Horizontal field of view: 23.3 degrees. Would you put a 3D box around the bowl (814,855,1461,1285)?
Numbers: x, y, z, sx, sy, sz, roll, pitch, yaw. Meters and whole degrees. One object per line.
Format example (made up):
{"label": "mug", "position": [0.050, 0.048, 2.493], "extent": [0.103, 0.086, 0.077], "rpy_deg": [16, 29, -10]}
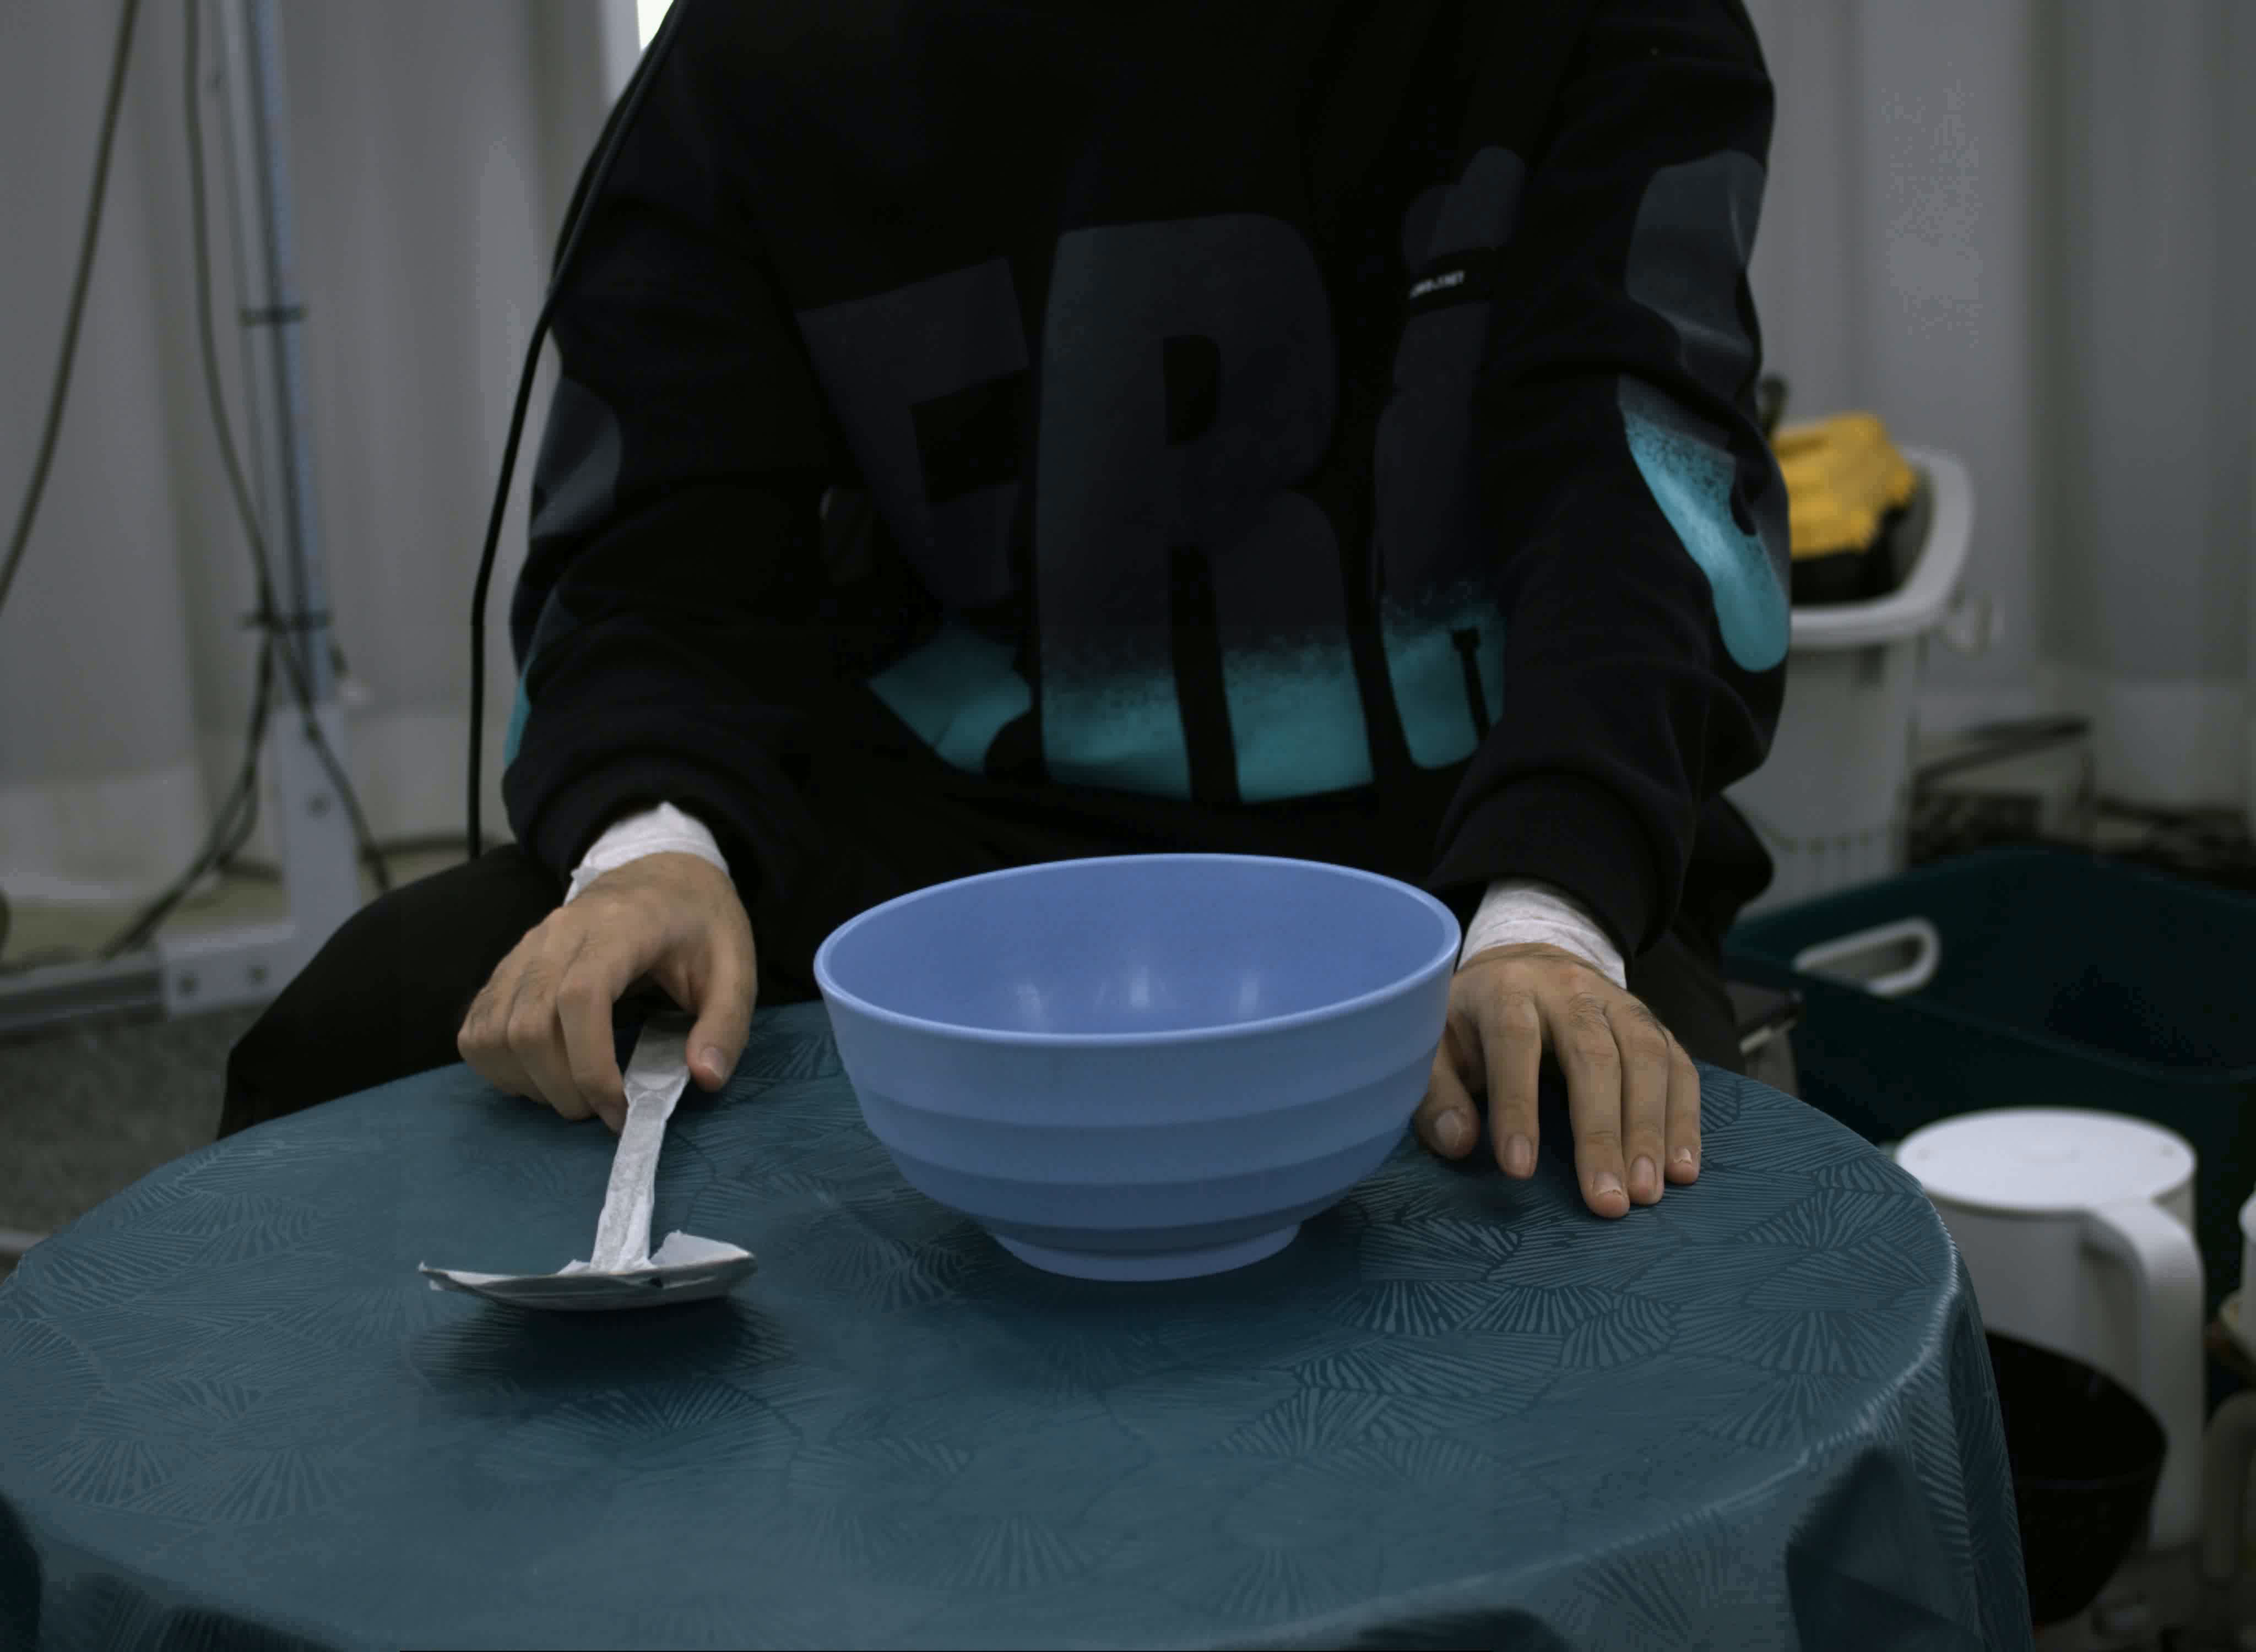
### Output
{"label": "bowl", "position": [0.006, 0.080, 1.664], "extent": [0.196, 0.095, 0.198], "rpy_deg": [-4, 15, 1]}

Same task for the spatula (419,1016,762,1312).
{"label": "spatula", "position": [-0.151, 0.098, 1.732], "extent": [0.098, 0.044, 0.367], "rpy_deg": [-4, 15, 2]}
